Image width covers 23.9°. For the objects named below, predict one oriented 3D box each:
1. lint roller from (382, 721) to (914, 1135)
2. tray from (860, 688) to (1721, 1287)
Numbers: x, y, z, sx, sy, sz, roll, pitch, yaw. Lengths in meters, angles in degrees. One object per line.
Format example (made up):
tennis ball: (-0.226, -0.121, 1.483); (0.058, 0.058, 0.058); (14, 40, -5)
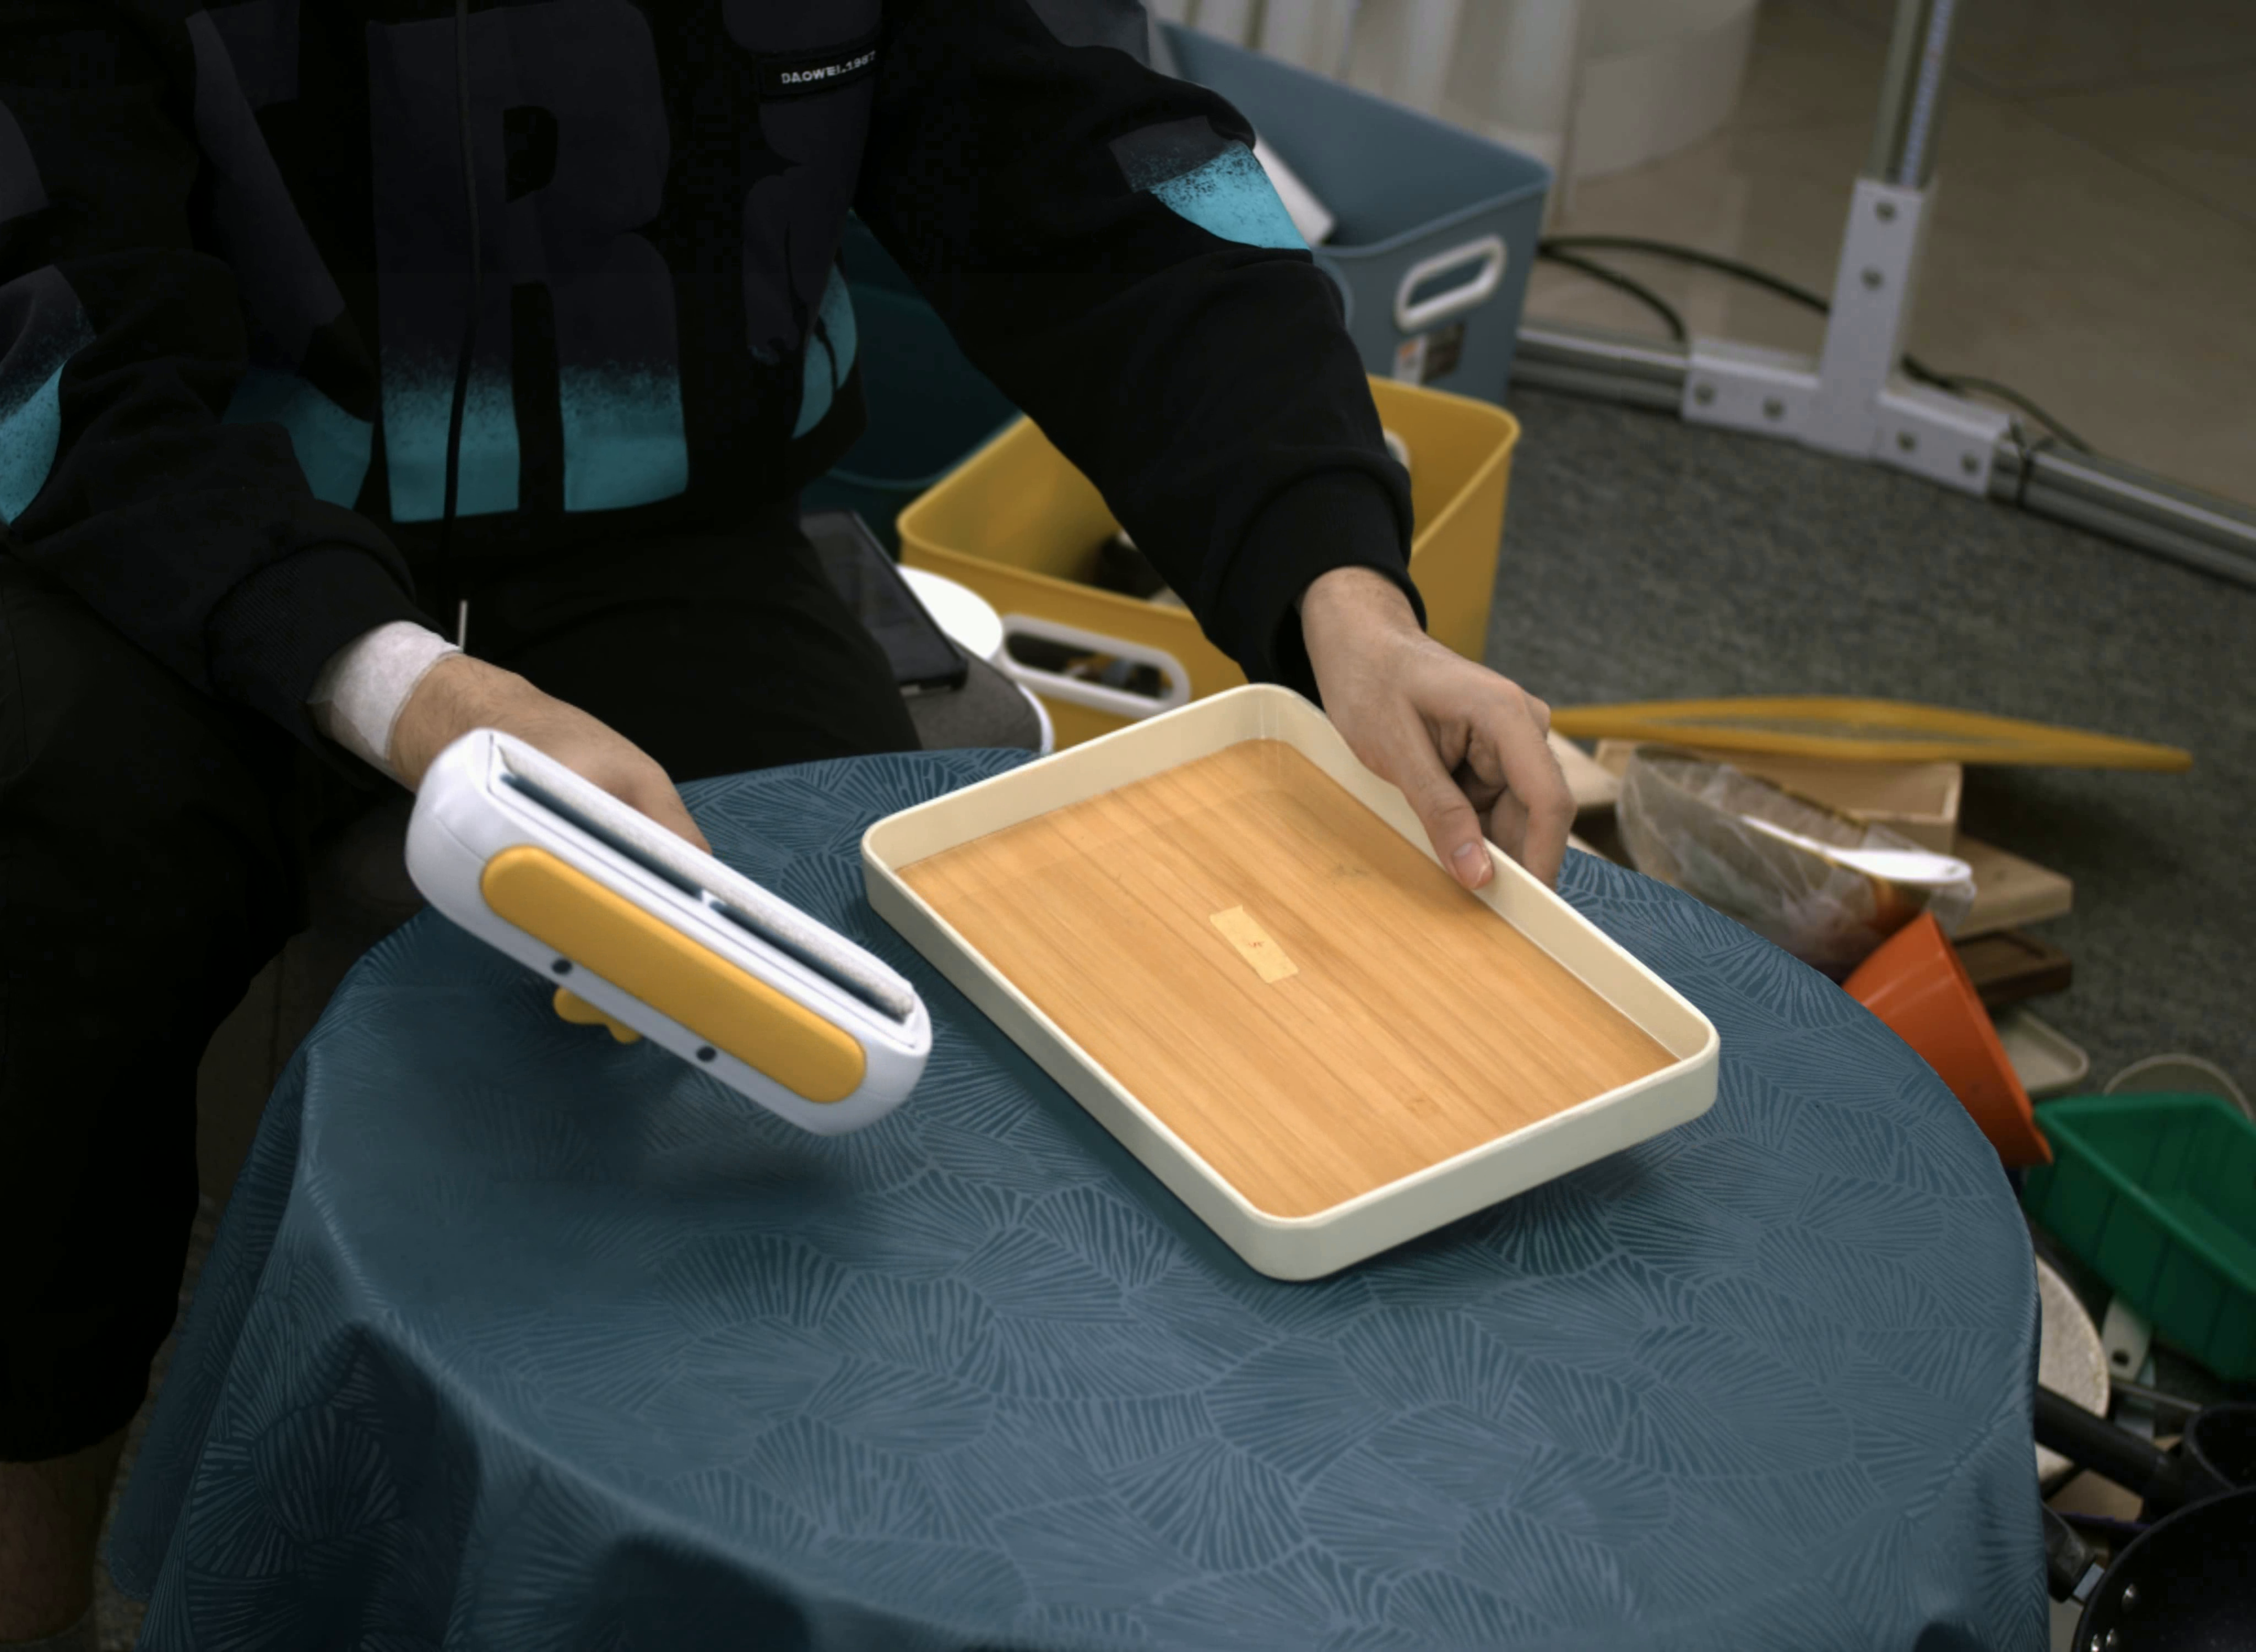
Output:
lint roller: (-0.167, 0.023, 1.801); (0.192, 0.074, 0.193); (28, 12, -15)
tray: (0.053, 0.050, 1.890); (0.191, 0.027, 0.303); (-21, 36, -23)
